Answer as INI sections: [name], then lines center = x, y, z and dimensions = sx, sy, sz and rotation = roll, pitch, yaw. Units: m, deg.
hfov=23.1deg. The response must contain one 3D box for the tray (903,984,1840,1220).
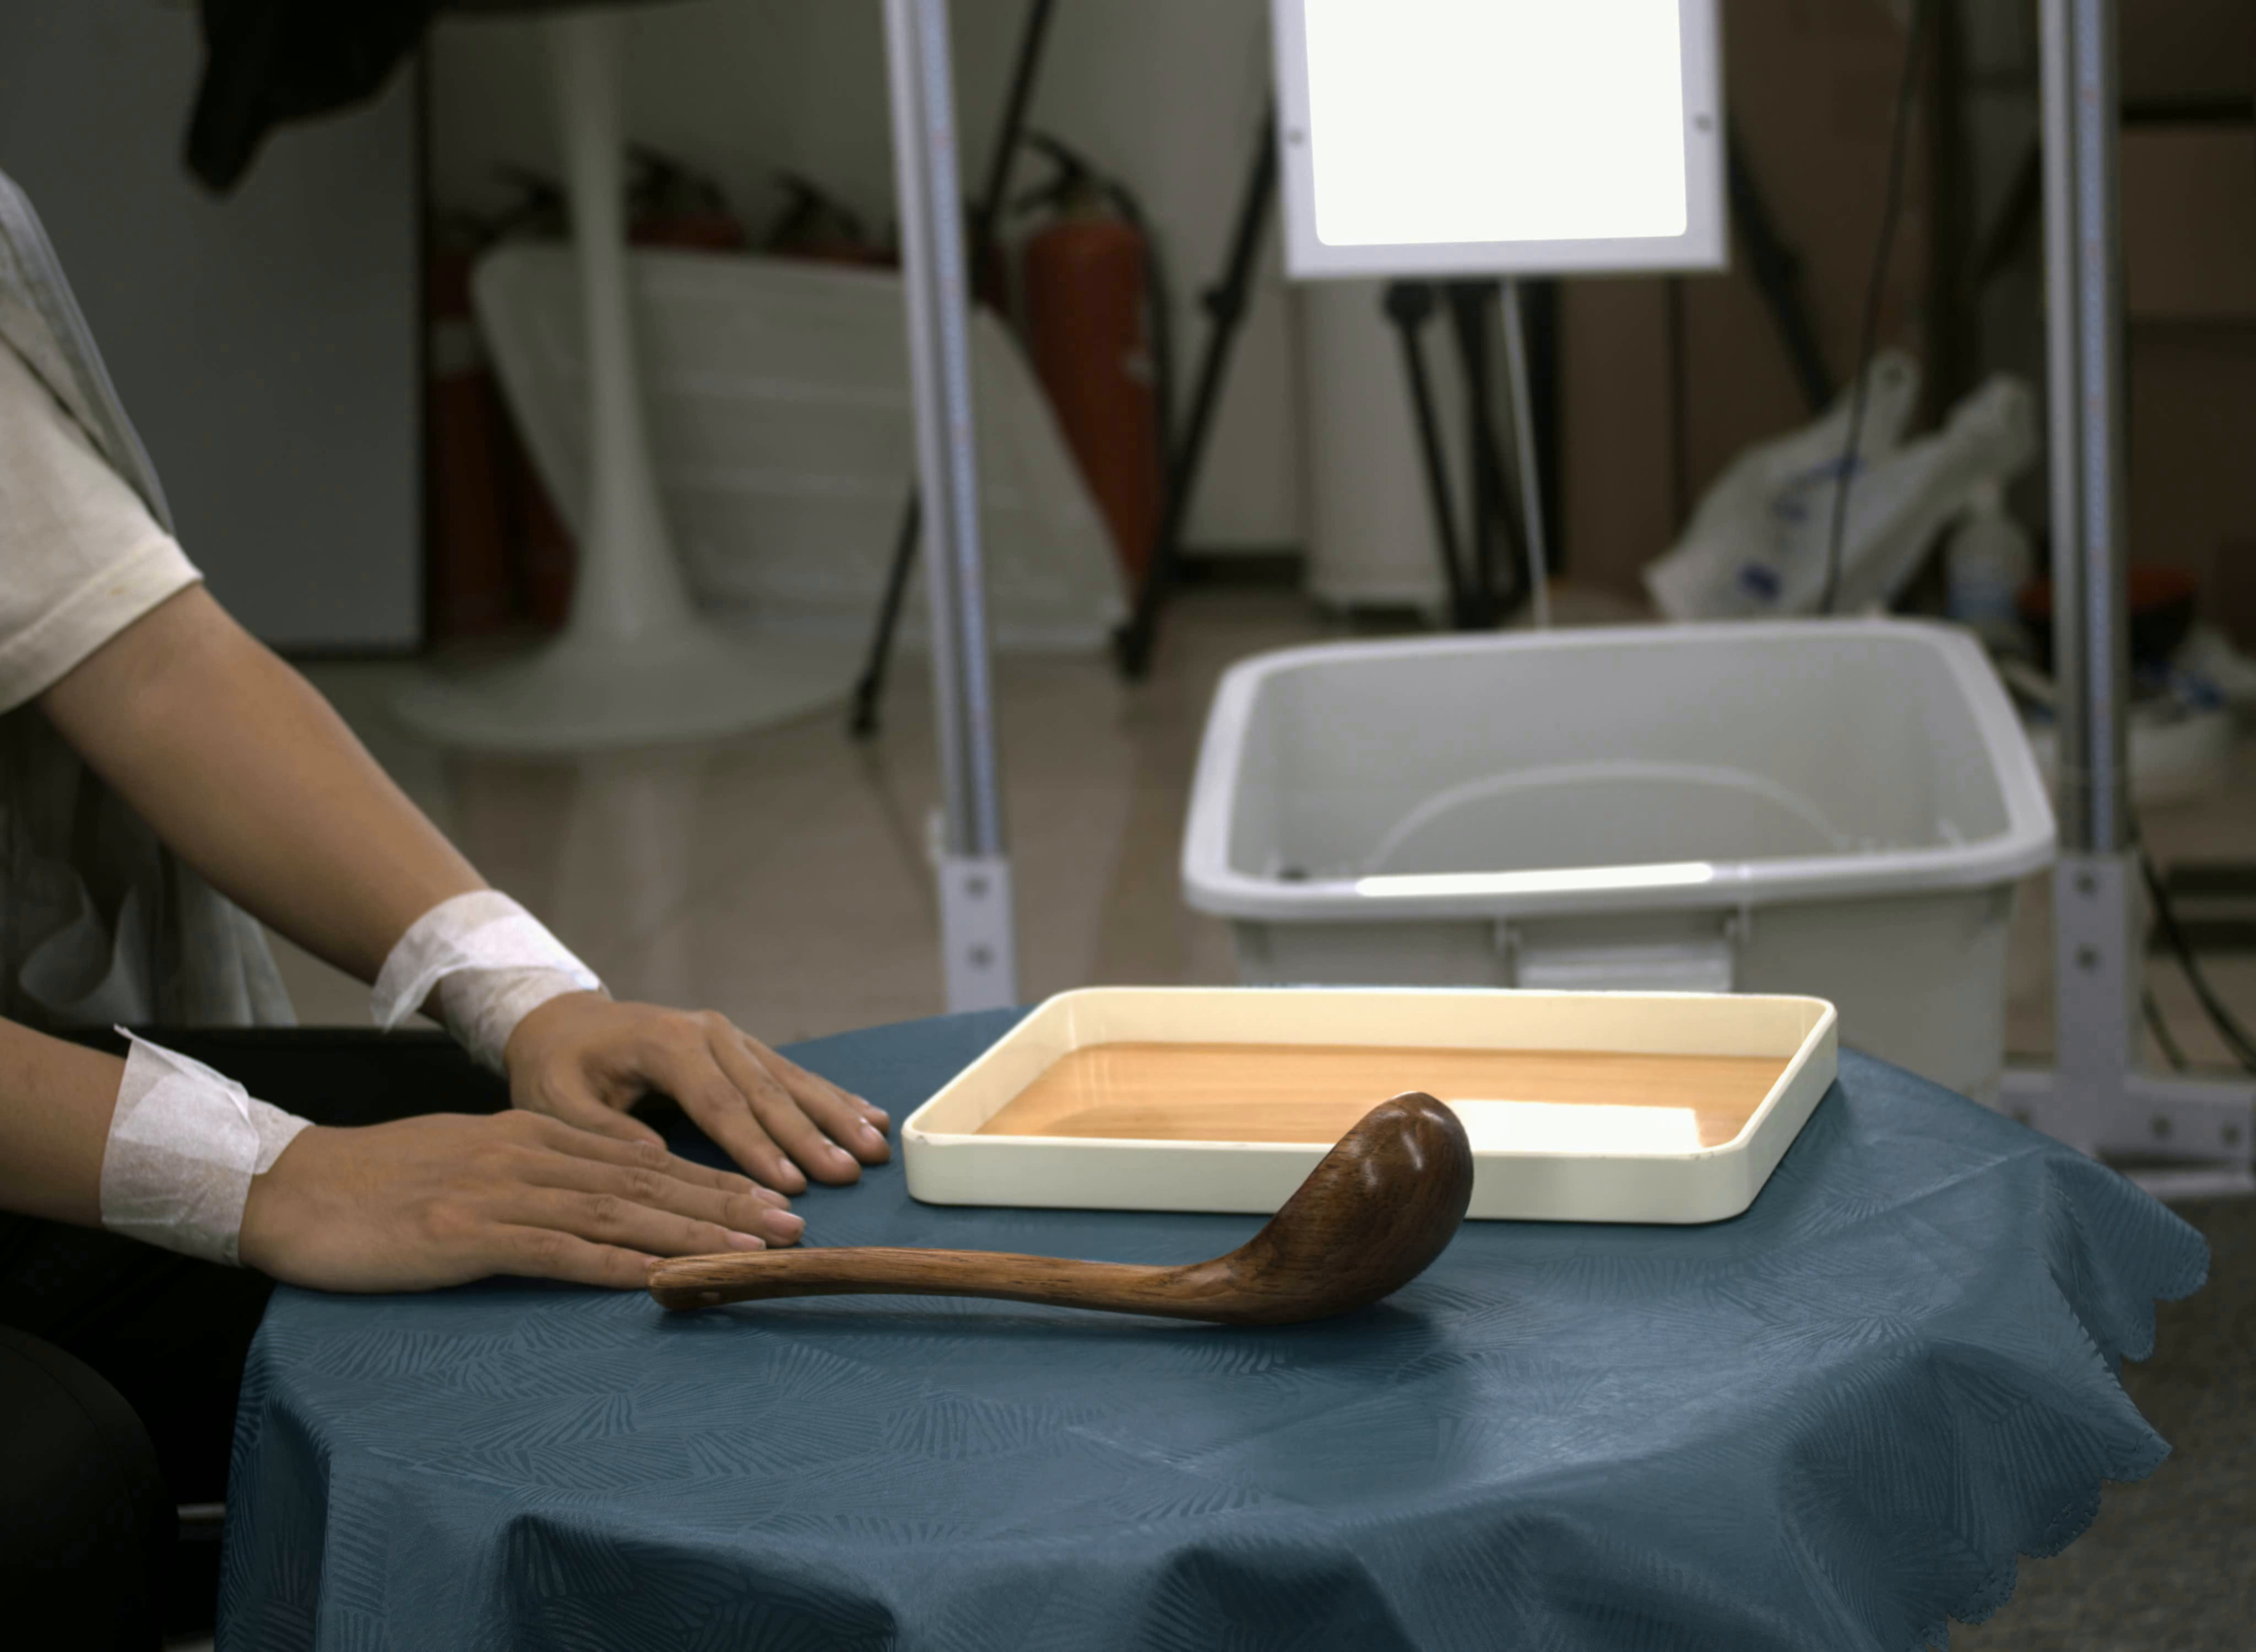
[tray]
center = 0.089, 0.095, 1.933
dimensions = 0.304, 0.027, 0.188
rotation = 0, 15, 21

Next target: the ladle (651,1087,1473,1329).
[ladle]
center = -0.023, 0.122, 1.776
dimensions = 0.278, 0.076, 0.081
rotation = -1, -25, 21
